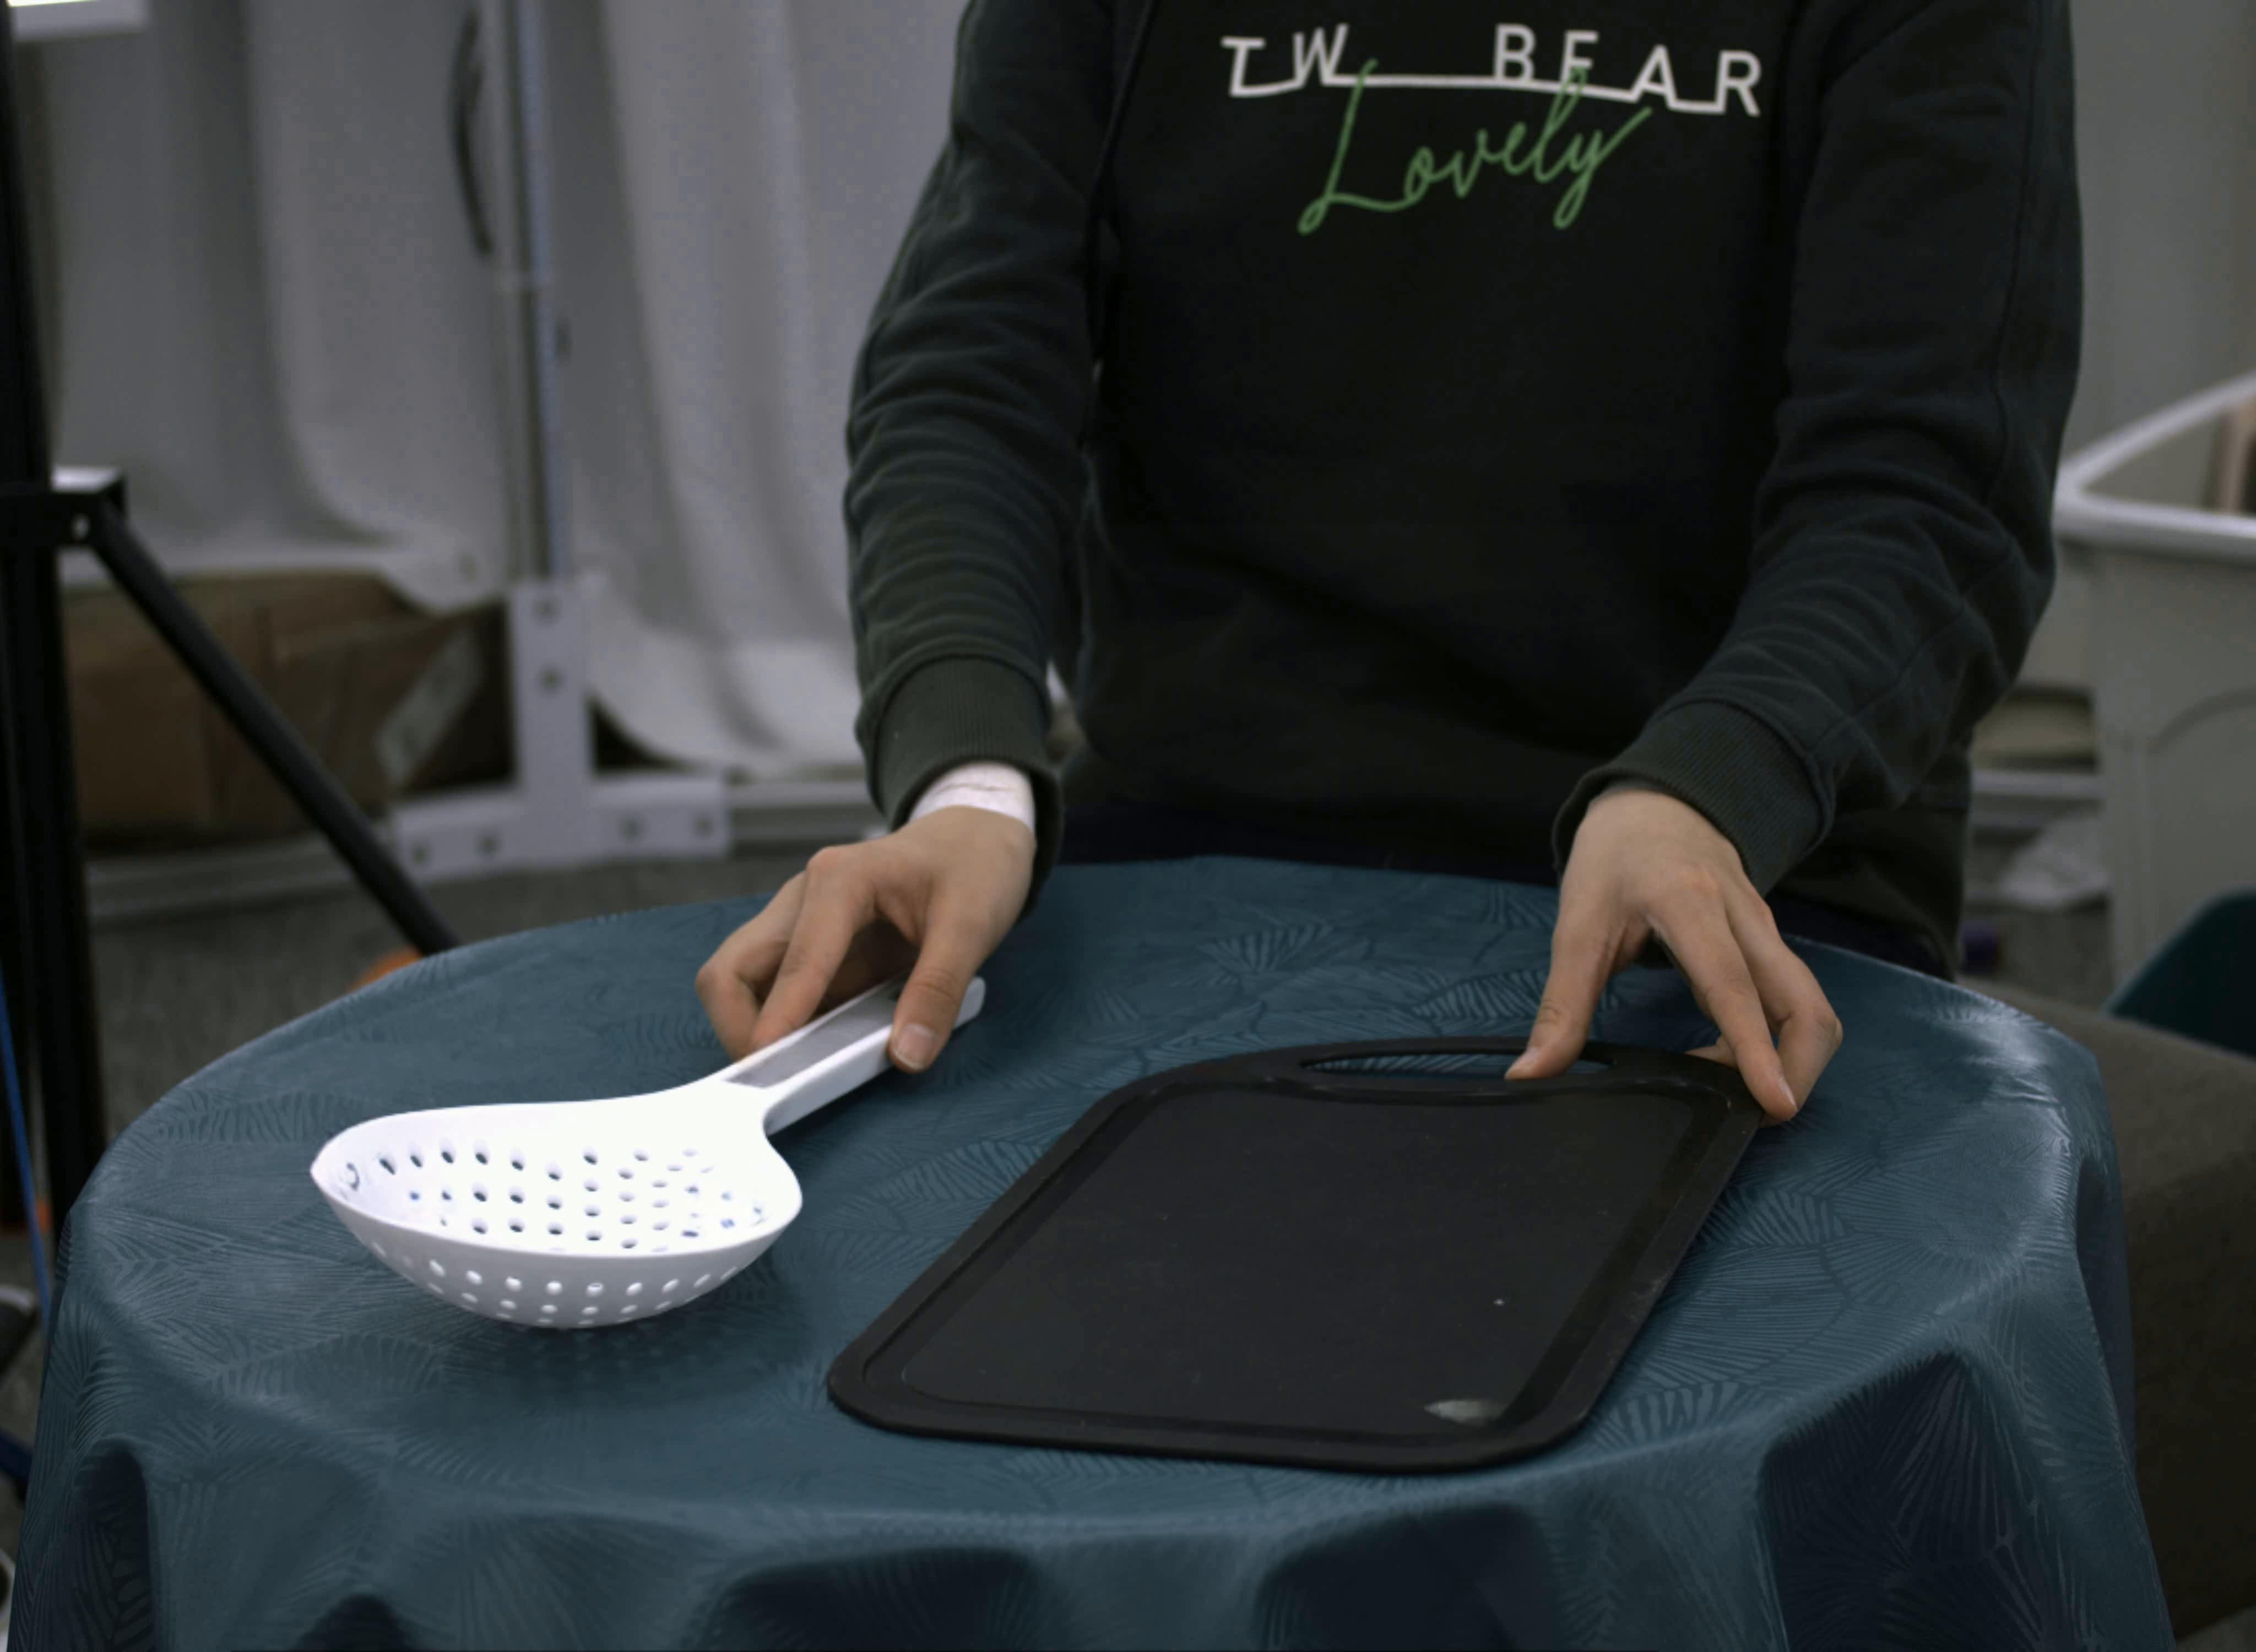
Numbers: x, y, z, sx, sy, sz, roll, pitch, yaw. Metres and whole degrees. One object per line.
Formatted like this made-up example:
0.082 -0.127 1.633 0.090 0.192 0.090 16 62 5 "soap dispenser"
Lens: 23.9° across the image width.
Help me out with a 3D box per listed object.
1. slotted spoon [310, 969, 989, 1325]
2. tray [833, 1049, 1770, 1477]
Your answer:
-0.120 0.085 1.575 0.138 0.046 0.345 11 19 20 "slotted spoon"
0.058 0.115 1.502 0.213 0.010 0.322 2 17 20 "tray"
